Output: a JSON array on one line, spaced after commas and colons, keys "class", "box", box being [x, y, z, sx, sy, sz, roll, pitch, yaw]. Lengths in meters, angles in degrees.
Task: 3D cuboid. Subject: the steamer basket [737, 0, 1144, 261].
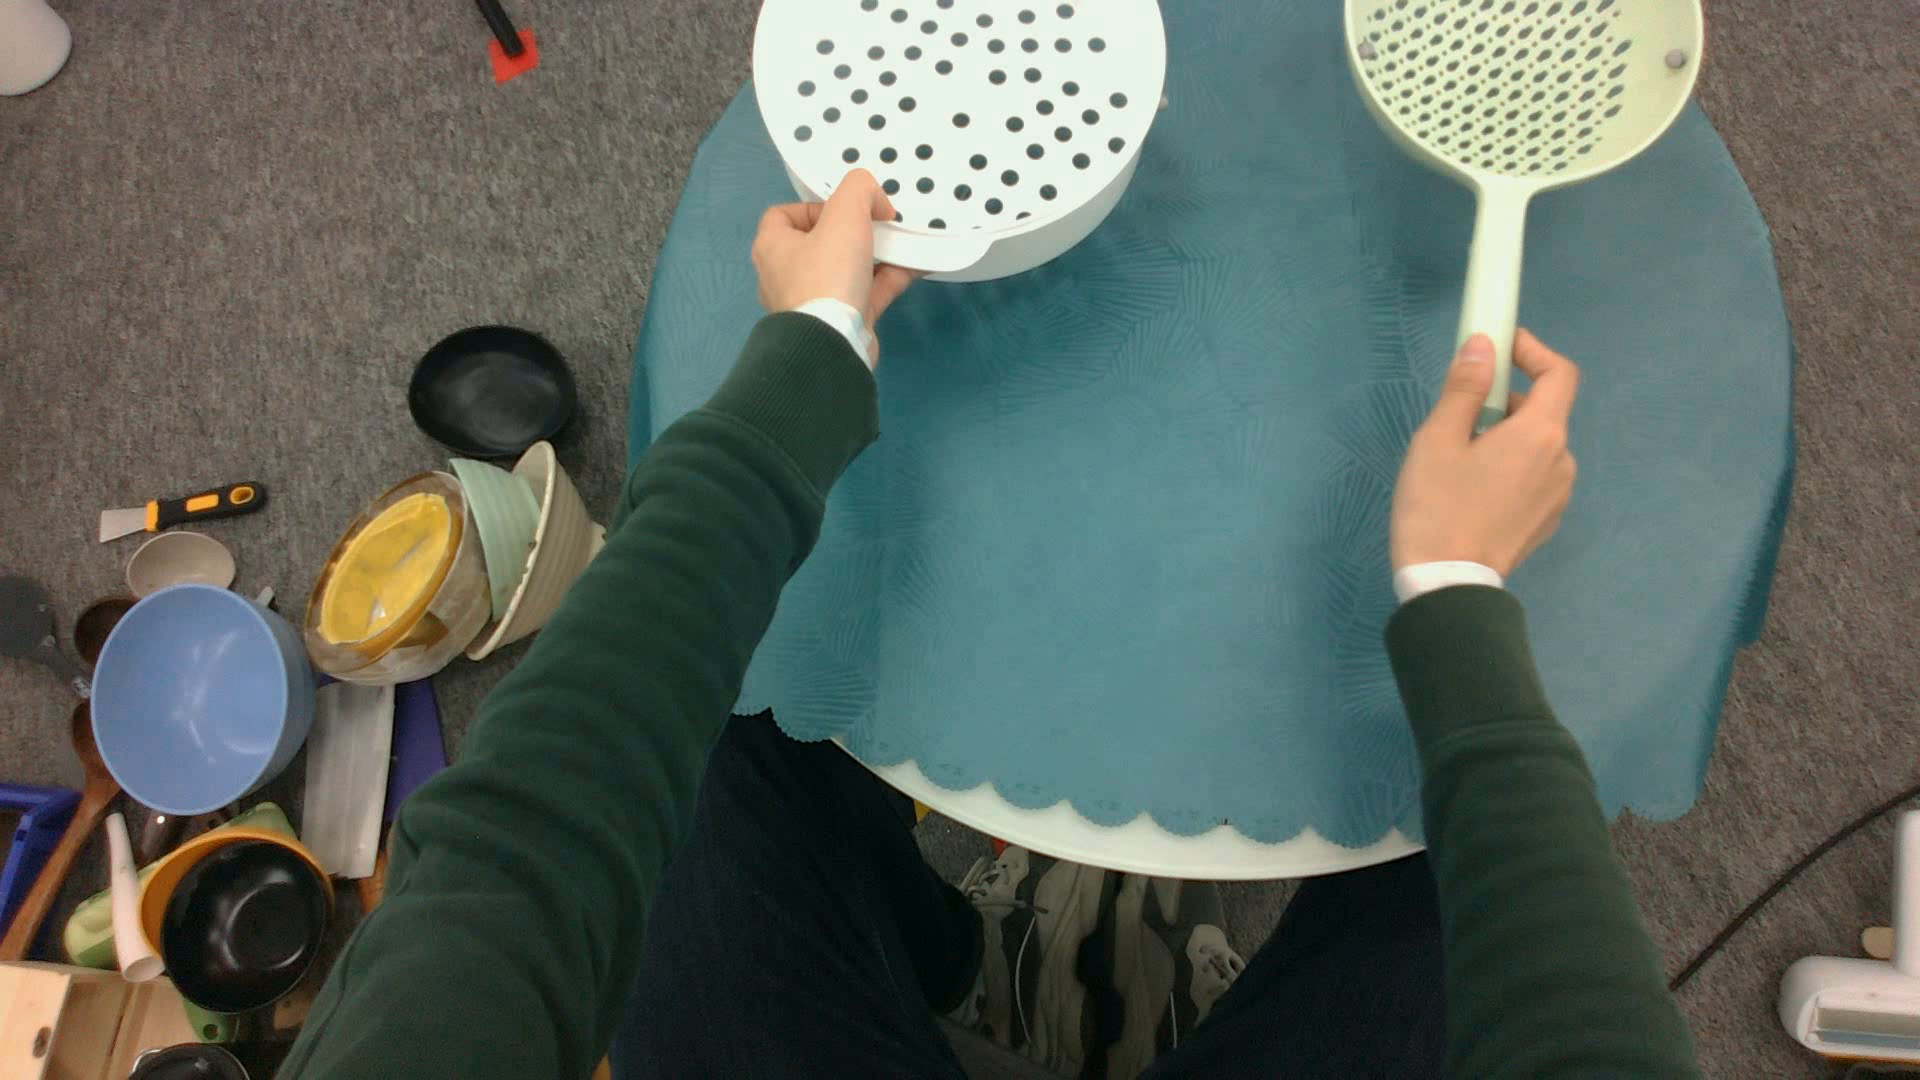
[{"class": "steamer basket", "box": [-0.009, -0.242, 0.709, 0.202, 0.069, 0.231, 9, 75, 3]}]

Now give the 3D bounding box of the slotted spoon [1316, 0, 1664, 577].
[{"class": "slotted spoon", "box": [0.240, -0.160, 0.656, 0.169, 0.075, 0.360, 10, 68, 4]}]
